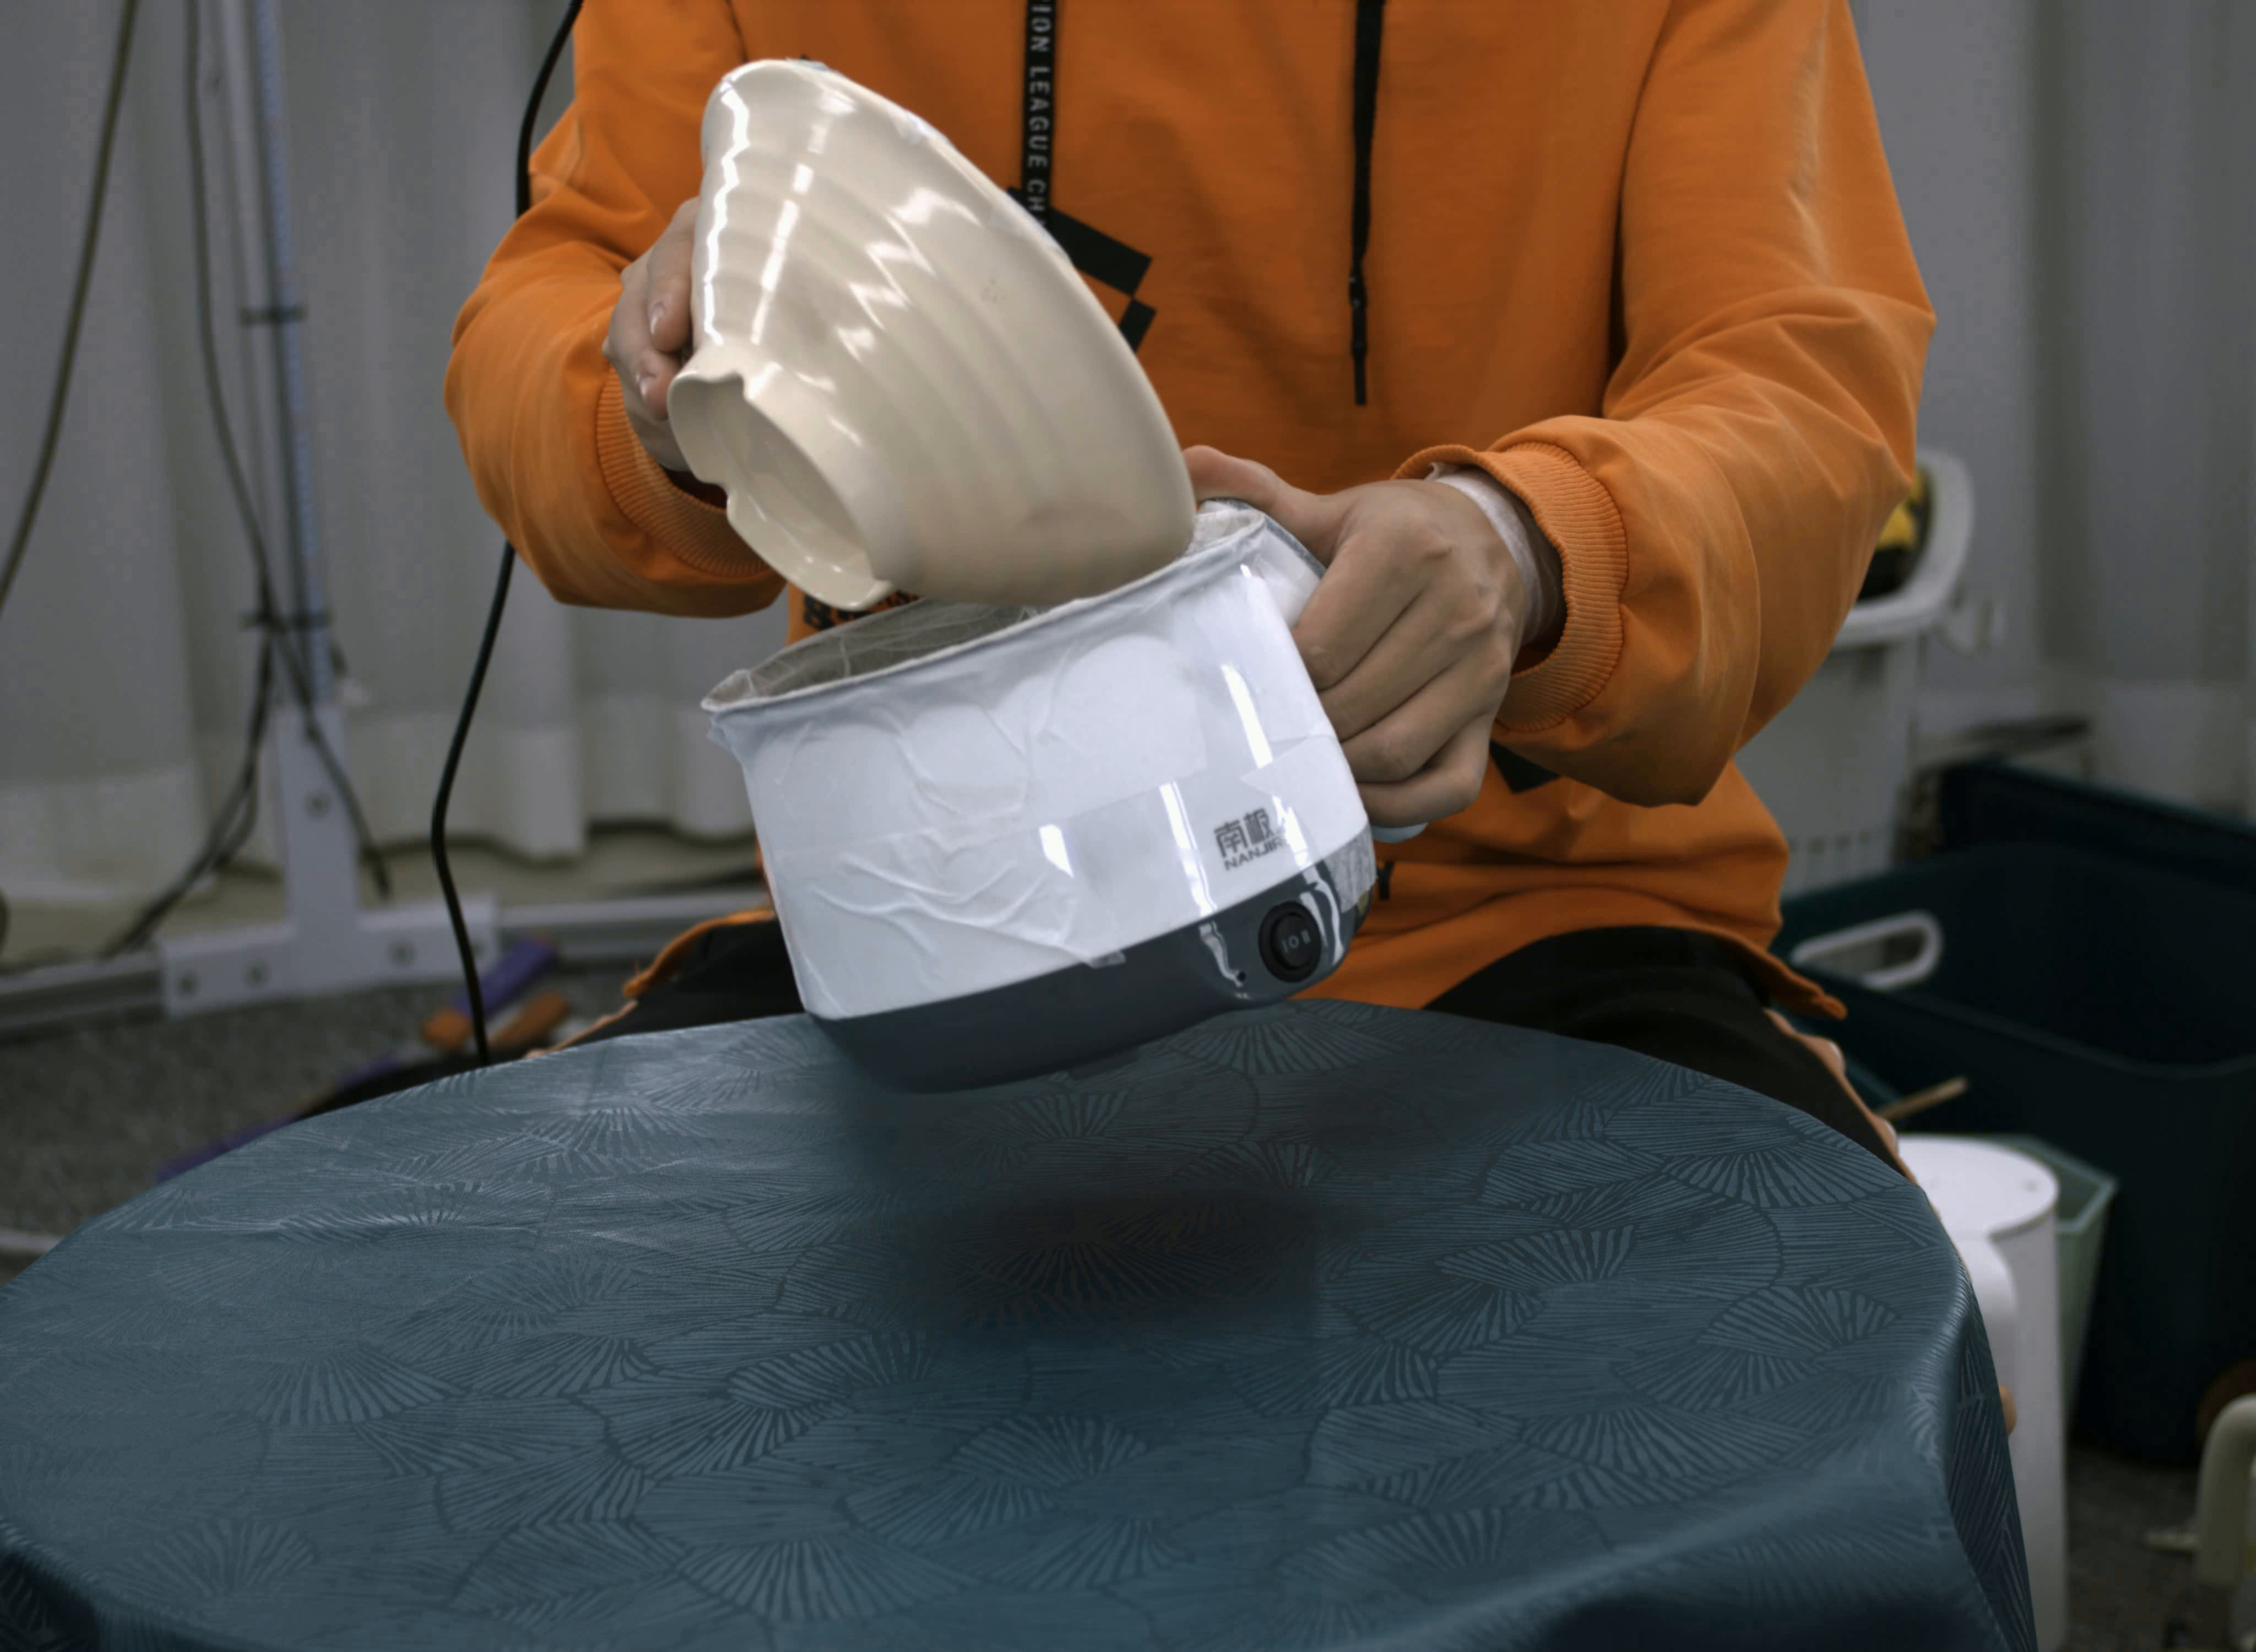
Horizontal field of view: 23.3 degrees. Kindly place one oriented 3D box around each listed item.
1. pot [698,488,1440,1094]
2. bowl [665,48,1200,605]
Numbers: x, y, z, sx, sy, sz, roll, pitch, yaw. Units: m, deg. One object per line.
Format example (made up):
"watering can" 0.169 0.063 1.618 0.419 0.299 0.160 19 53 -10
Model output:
"pot" -0.005 -0.015 1.643 0.234 0.136 0.179 -25 11 -40
"bowl" -0.078 -0.122 1.606 0.078 0.202 0.205 -43 33 -23
